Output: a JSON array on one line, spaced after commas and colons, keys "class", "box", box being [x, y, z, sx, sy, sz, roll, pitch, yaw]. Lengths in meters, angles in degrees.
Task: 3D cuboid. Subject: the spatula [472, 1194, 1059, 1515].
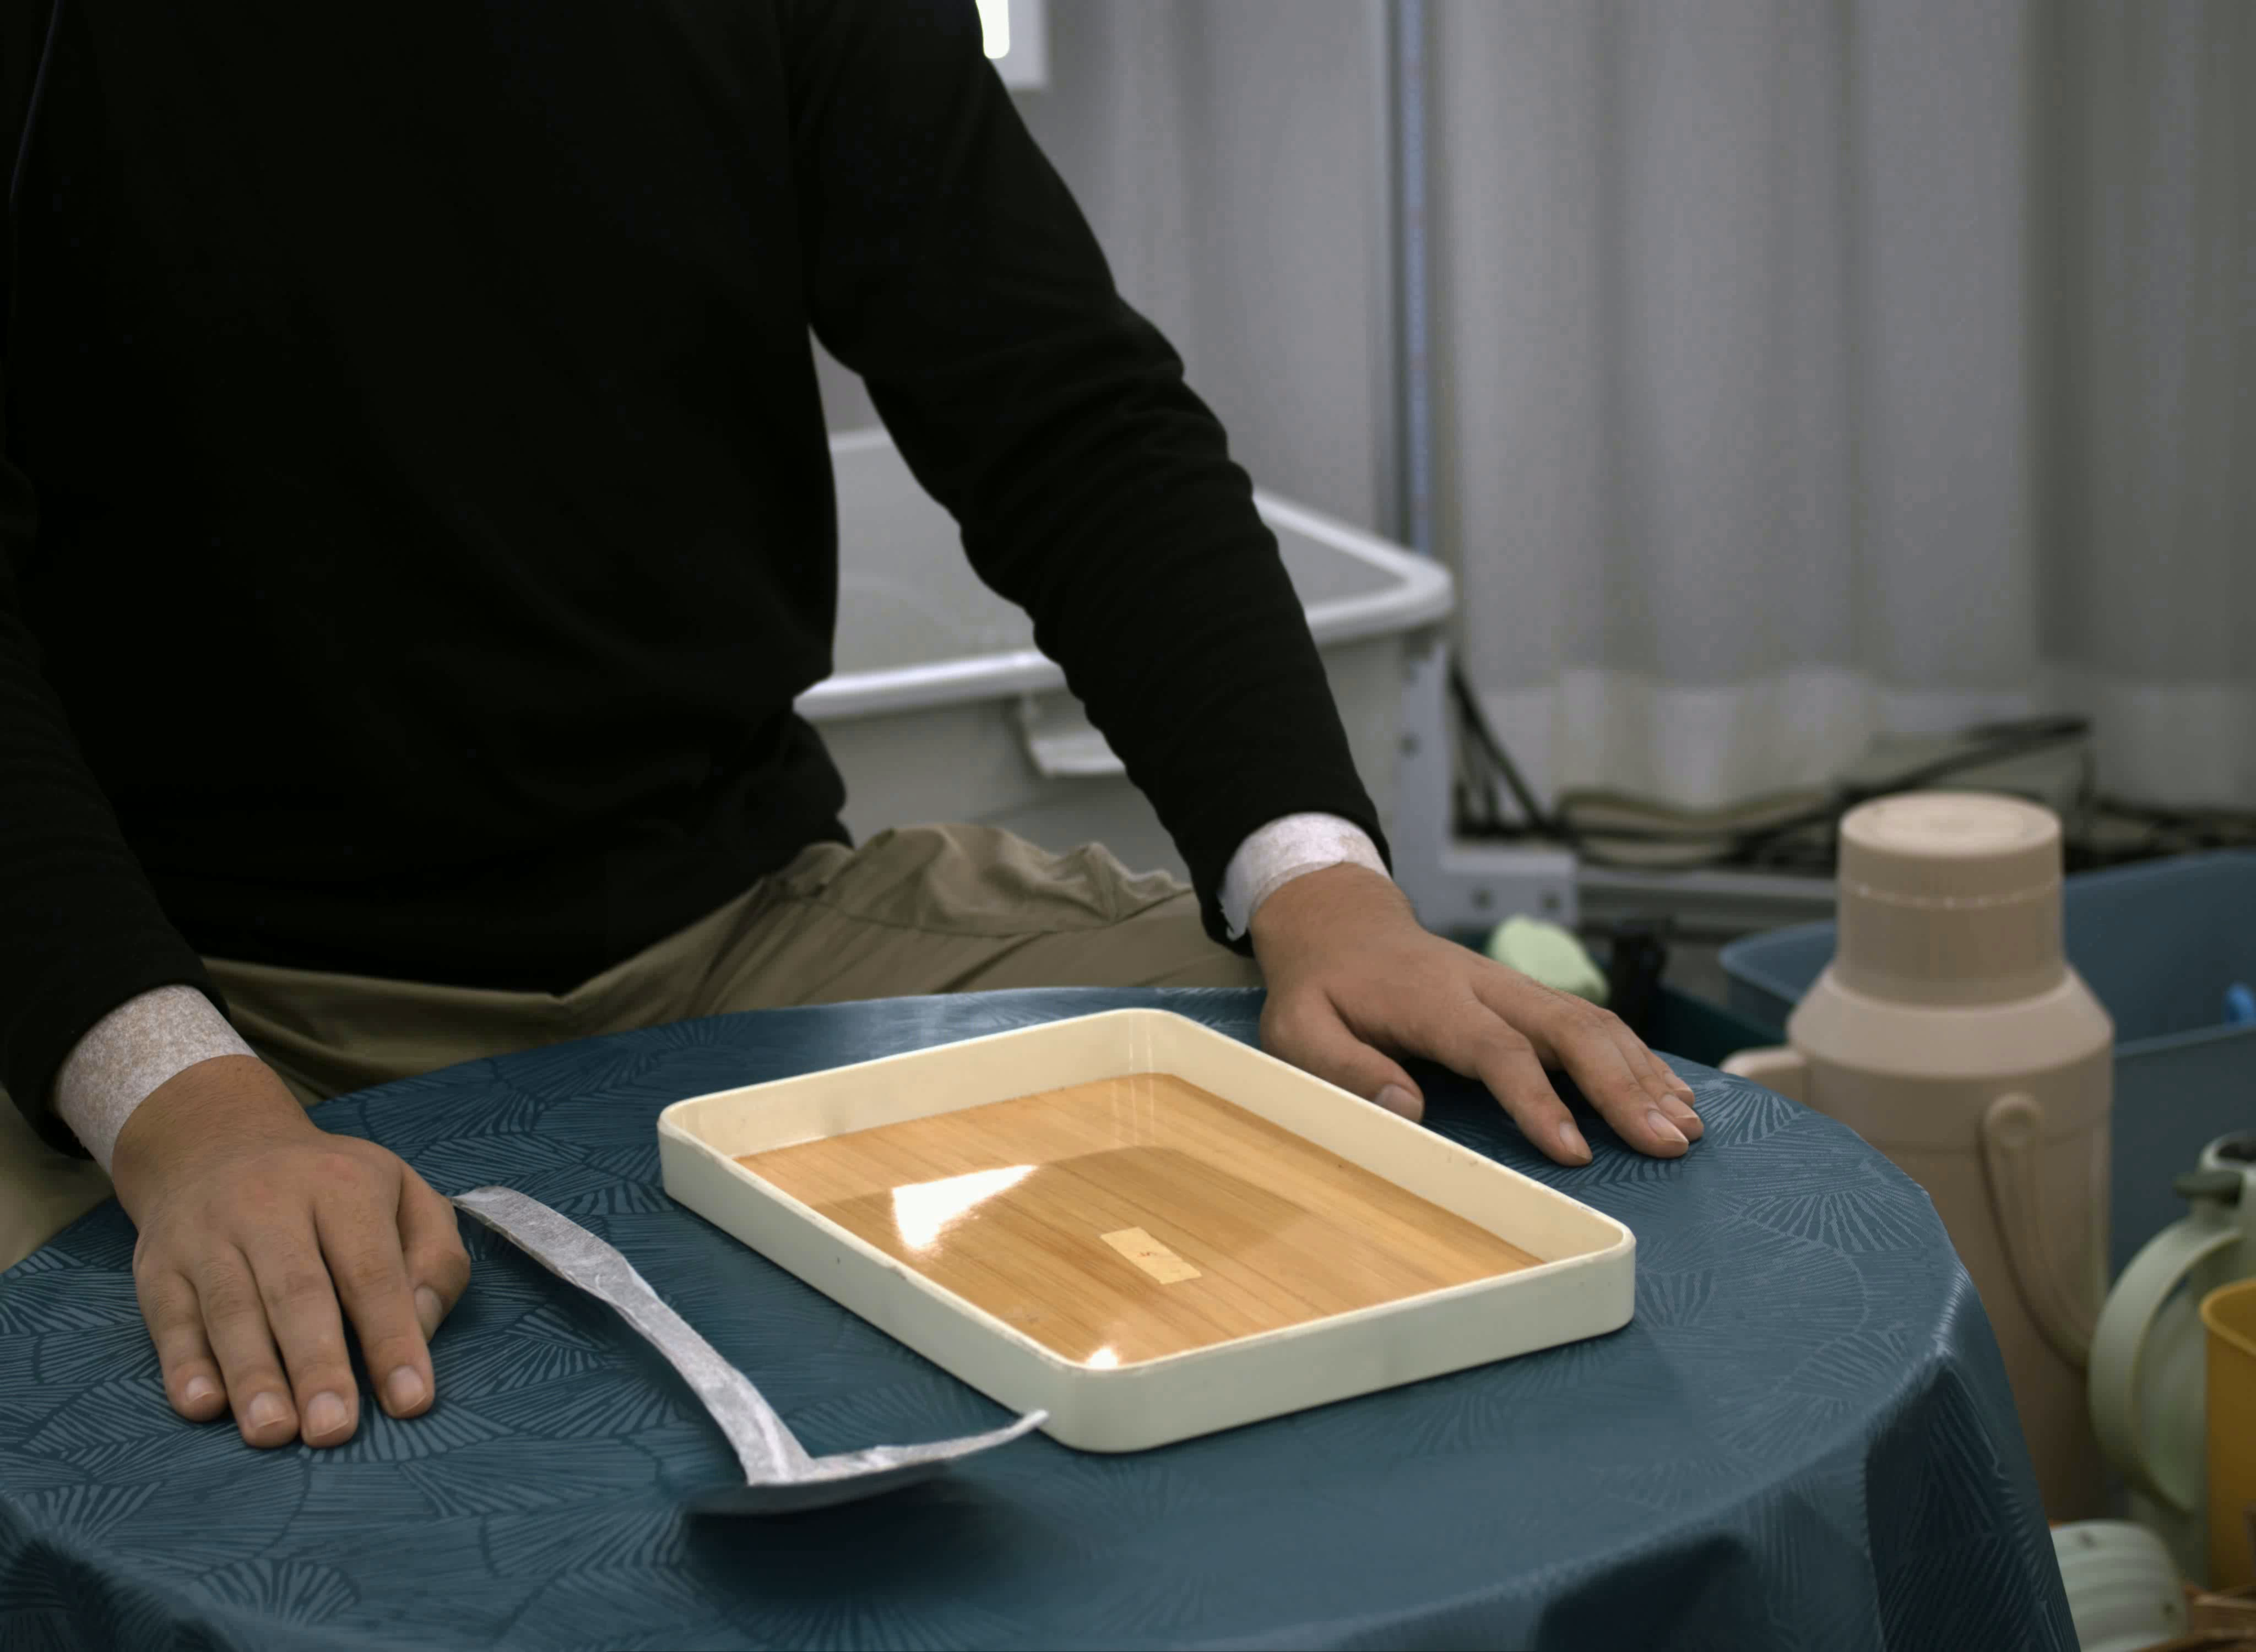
[{"class": "spatula", "box": [-0.129, 0.141, 1.564, 0.098, 0.044, 0.368, -10, 17, -23]}]

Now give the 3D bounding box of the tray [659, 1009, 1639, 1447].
[{"class": "tray", "box": [0.000, 0.117, 1.655, 0.191, 0.027, 0.302, -11, 16, -27]}]
